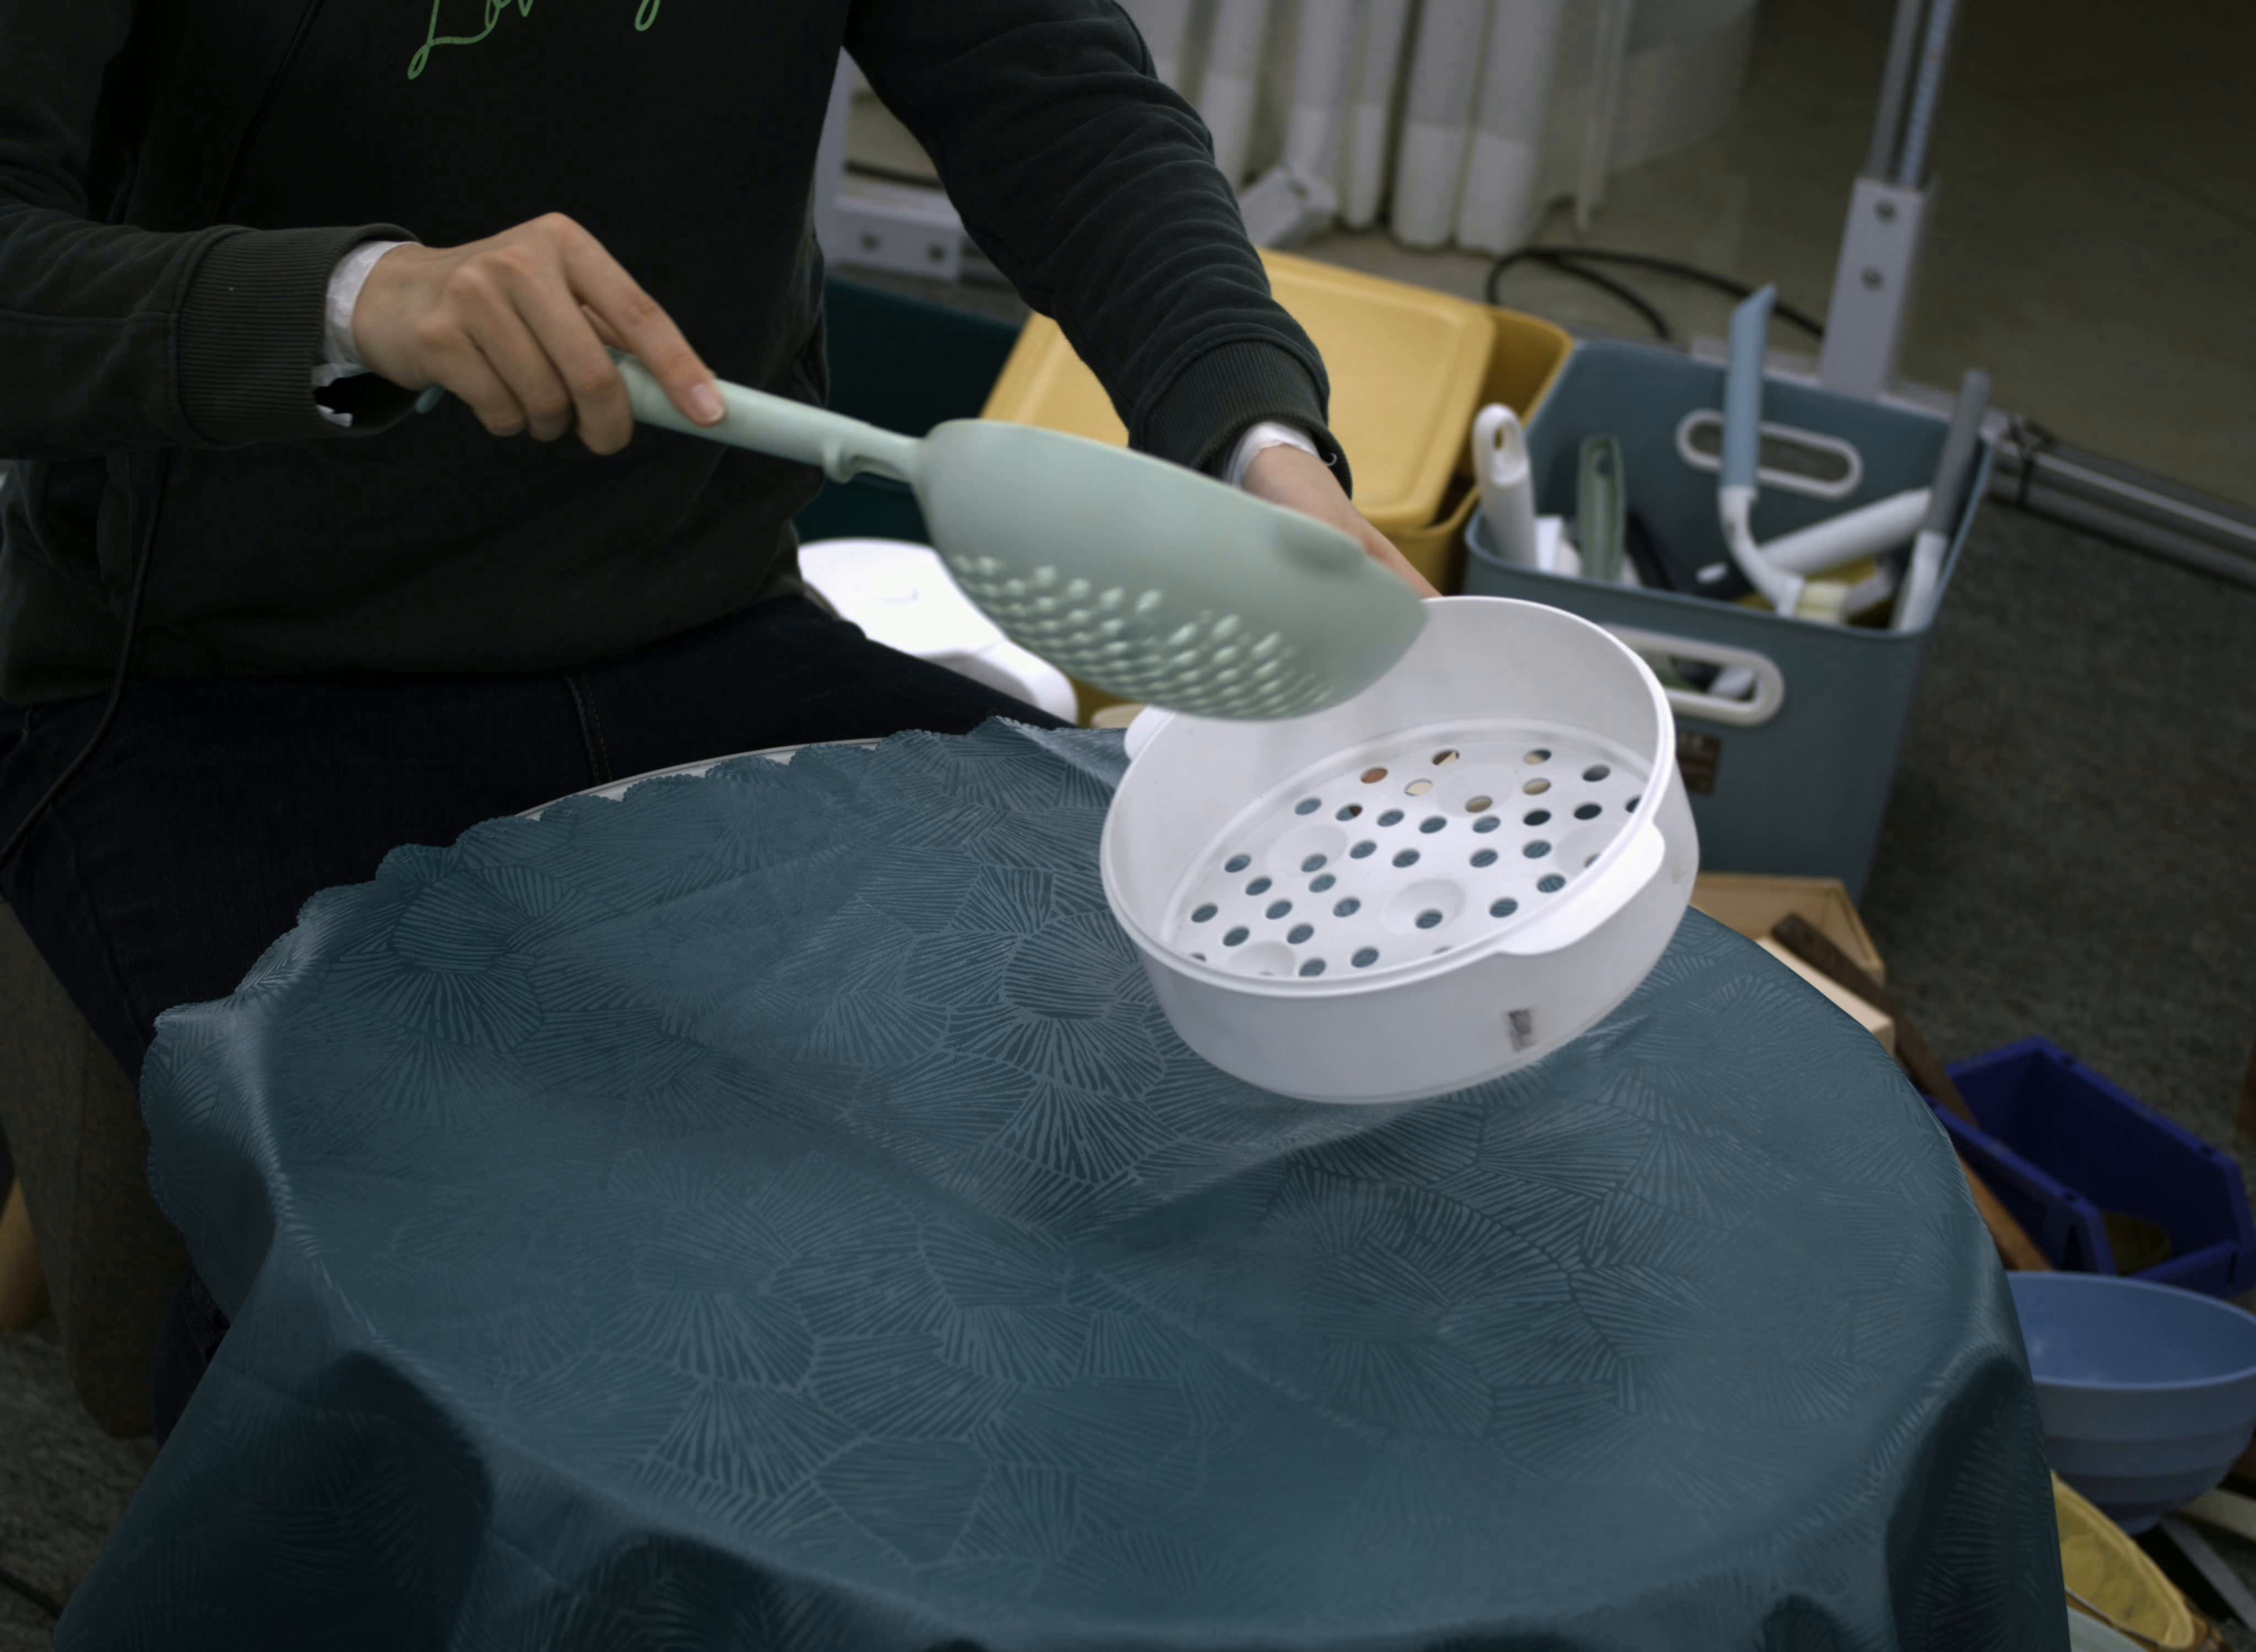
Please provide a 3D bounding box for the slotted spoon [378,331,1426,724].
[{"bbox_3d":[-0.079,-0.111,1.725,0.360,0.075,0.168,25,-9,18],"label":"slotted spoon"}]

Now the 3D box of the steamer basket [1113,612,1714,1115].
[{"bbox_3d":[0.099,0.013,1.799,0.201,0.069,0.232,-38,39,-24],"label":"steamer basket"}]
